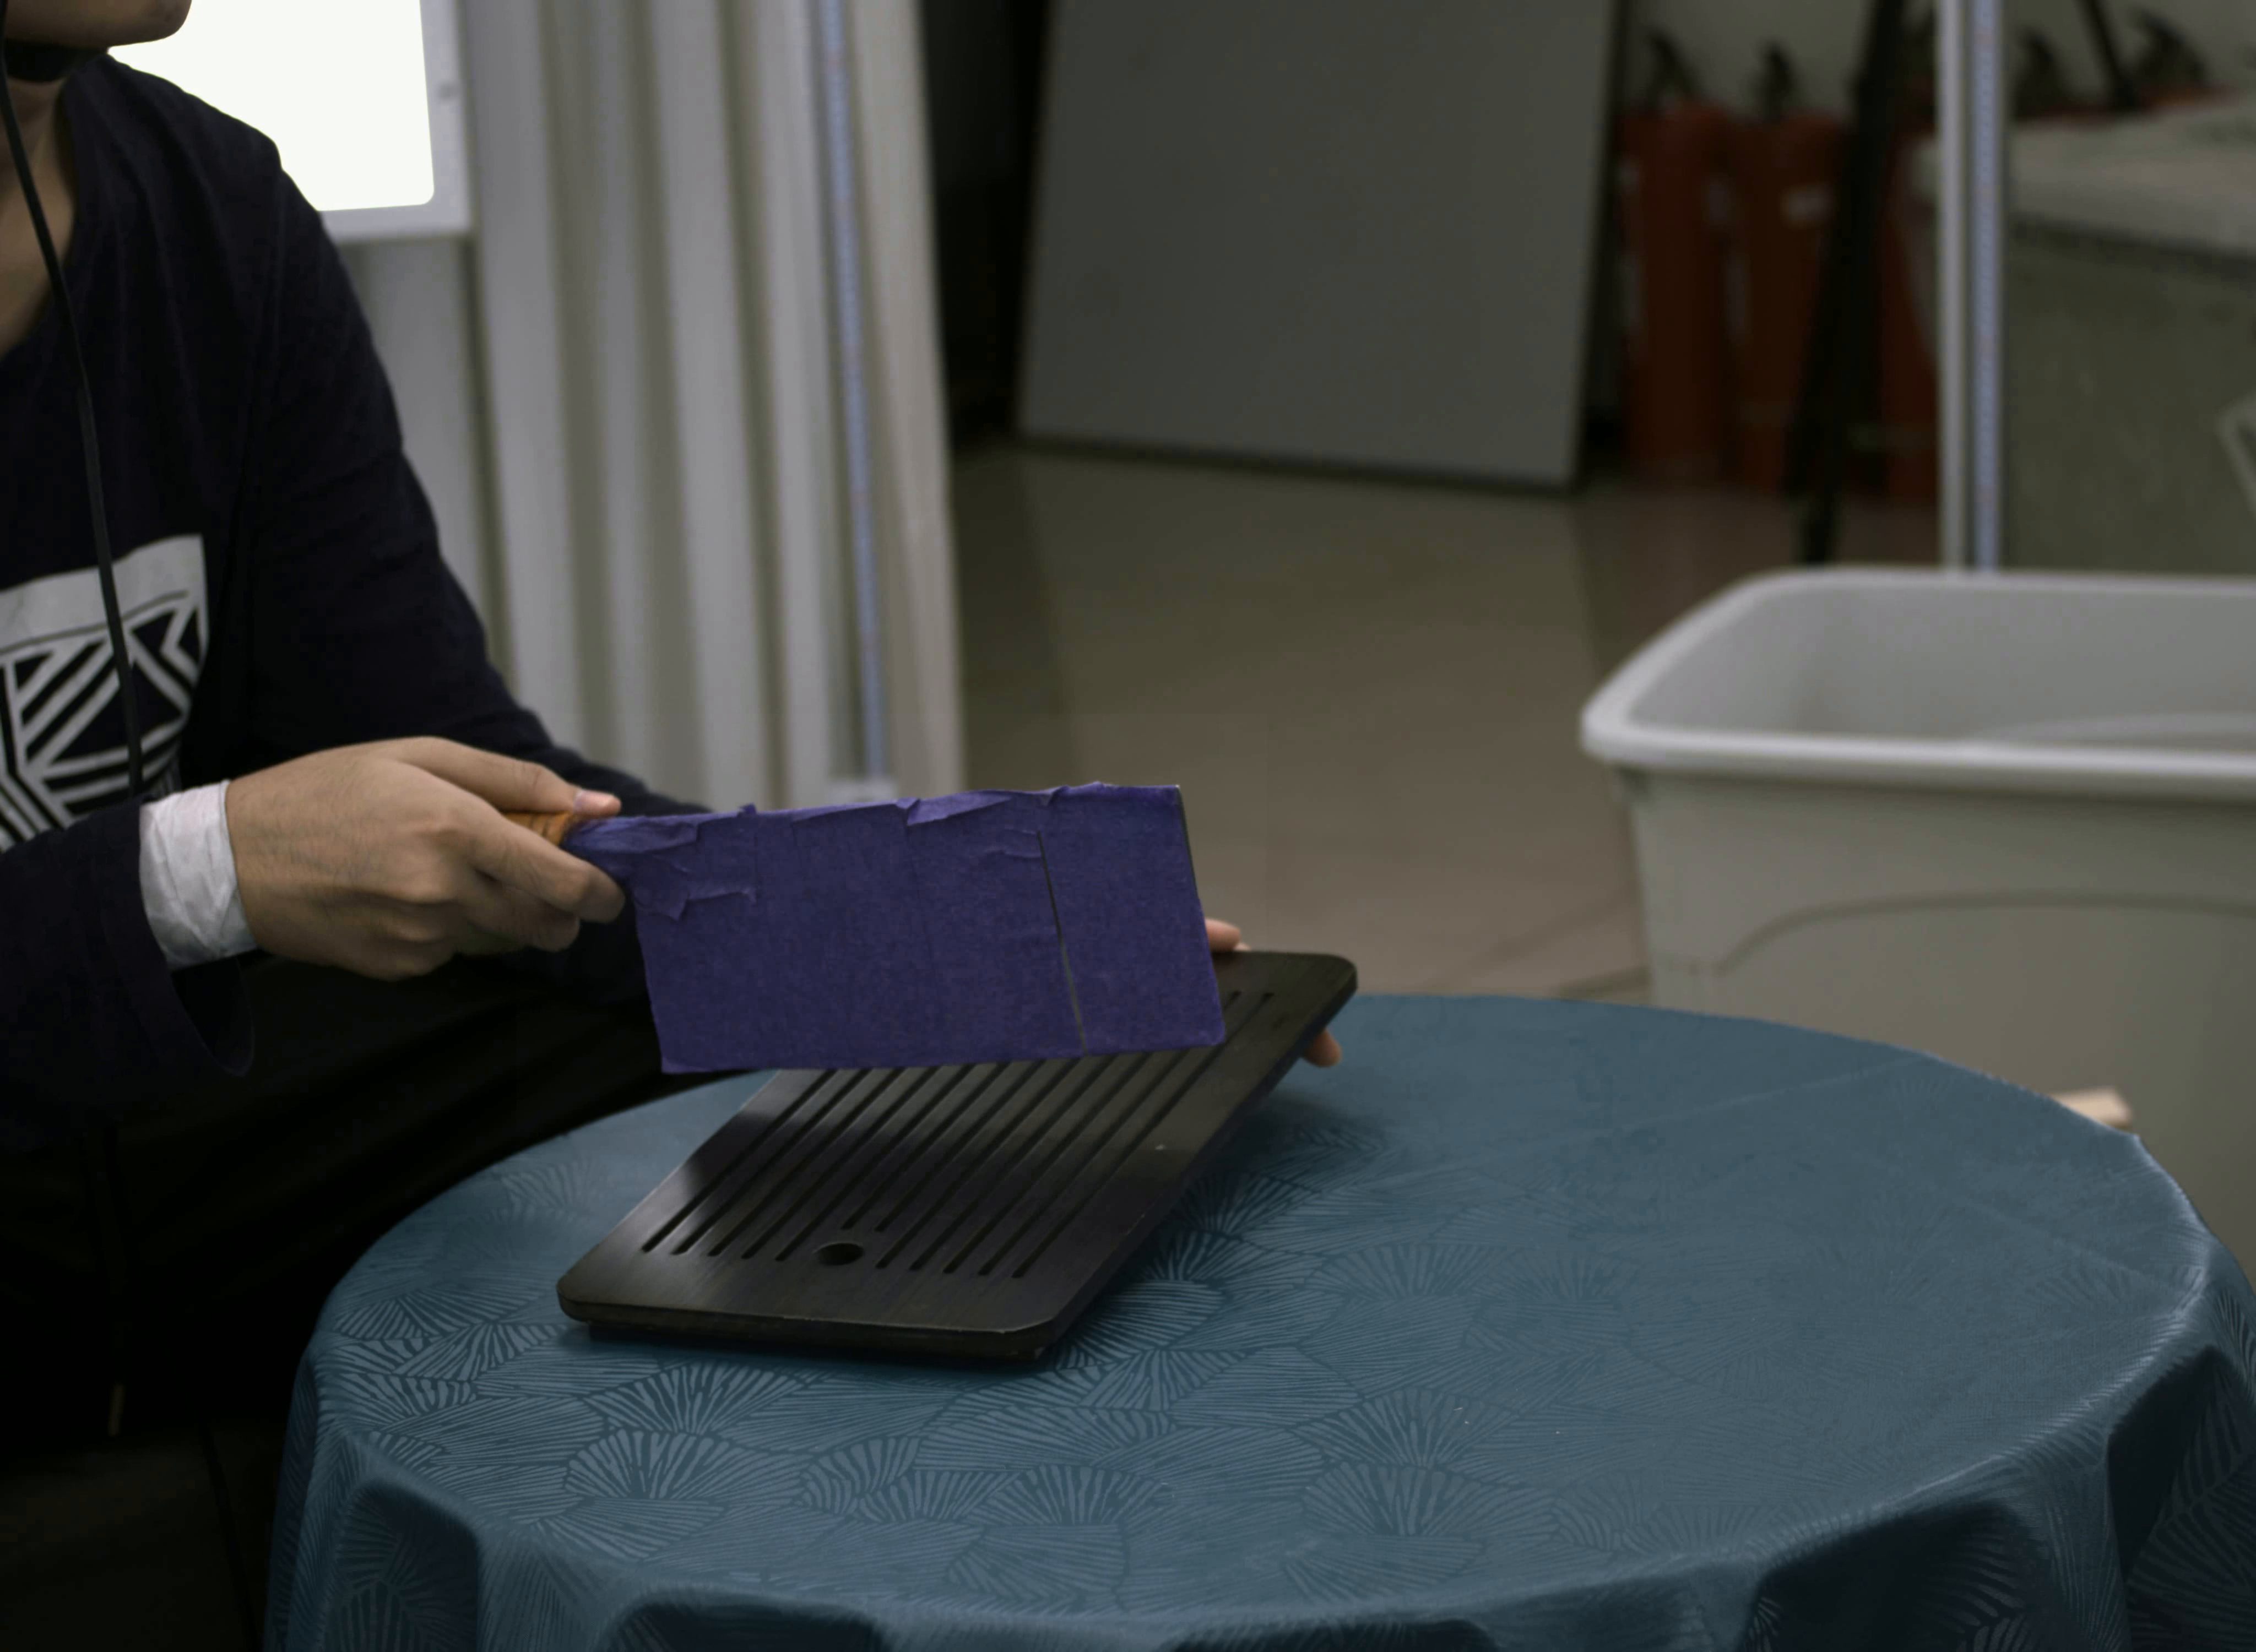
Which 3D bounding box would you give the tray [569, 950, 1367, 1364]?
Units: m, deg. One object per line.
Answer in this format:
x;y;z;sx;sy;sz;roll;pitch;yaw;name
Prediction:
-0.044;0.103;1.759;0.170;0.019;0.303;1;21;23;tray

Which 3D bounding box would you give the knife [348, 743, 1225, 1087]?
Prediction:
-0.116;0.037;1.777;0.316;0.105;0.032;-5;12;29;knife
